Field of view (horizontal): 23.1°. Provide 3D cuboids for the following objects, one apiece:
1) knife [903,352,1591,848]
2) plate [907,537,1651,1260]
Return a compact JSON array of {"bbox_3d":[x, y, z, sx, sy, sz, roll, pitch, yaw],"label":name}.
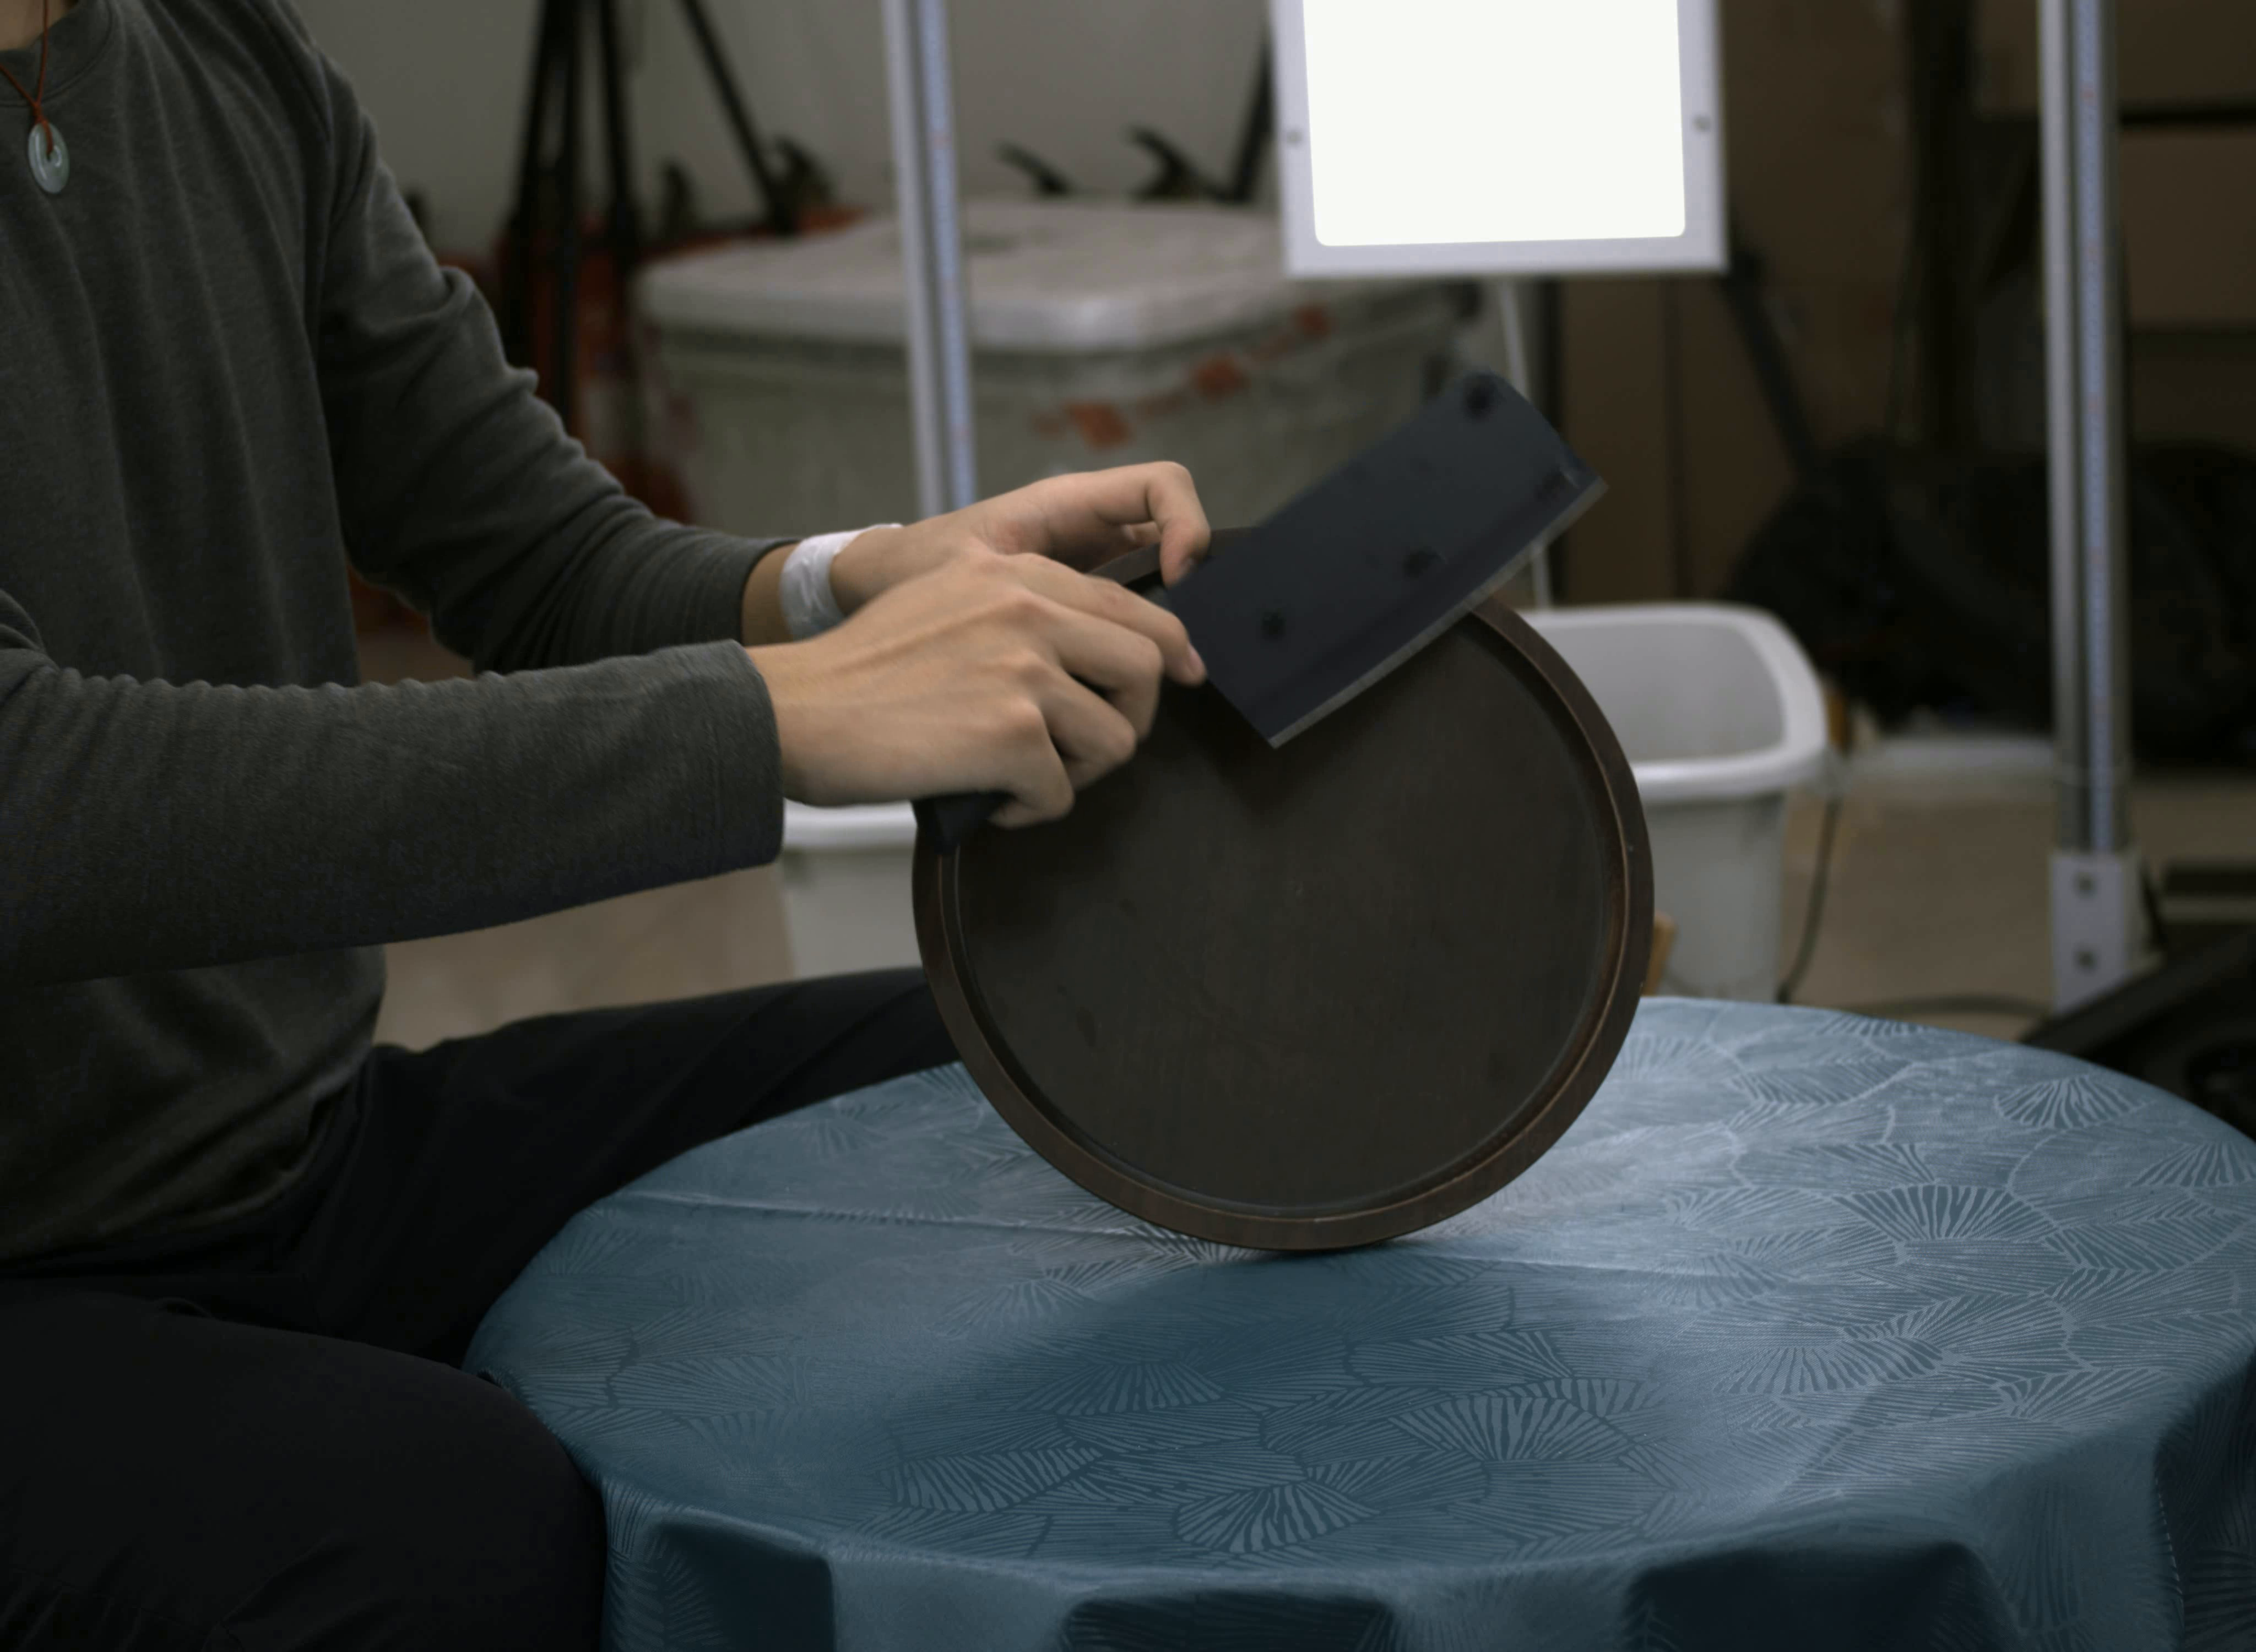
[{"bbox_3d":[0.041,-0.072,1.843,0.296,0.081,0.021,-32,-19,-29],"label":"knife"},{"bbox_3d":[0.051,0.023,1.853,0.253,0.255,0.029,-6,-13,-5],"label":"plate"}]
